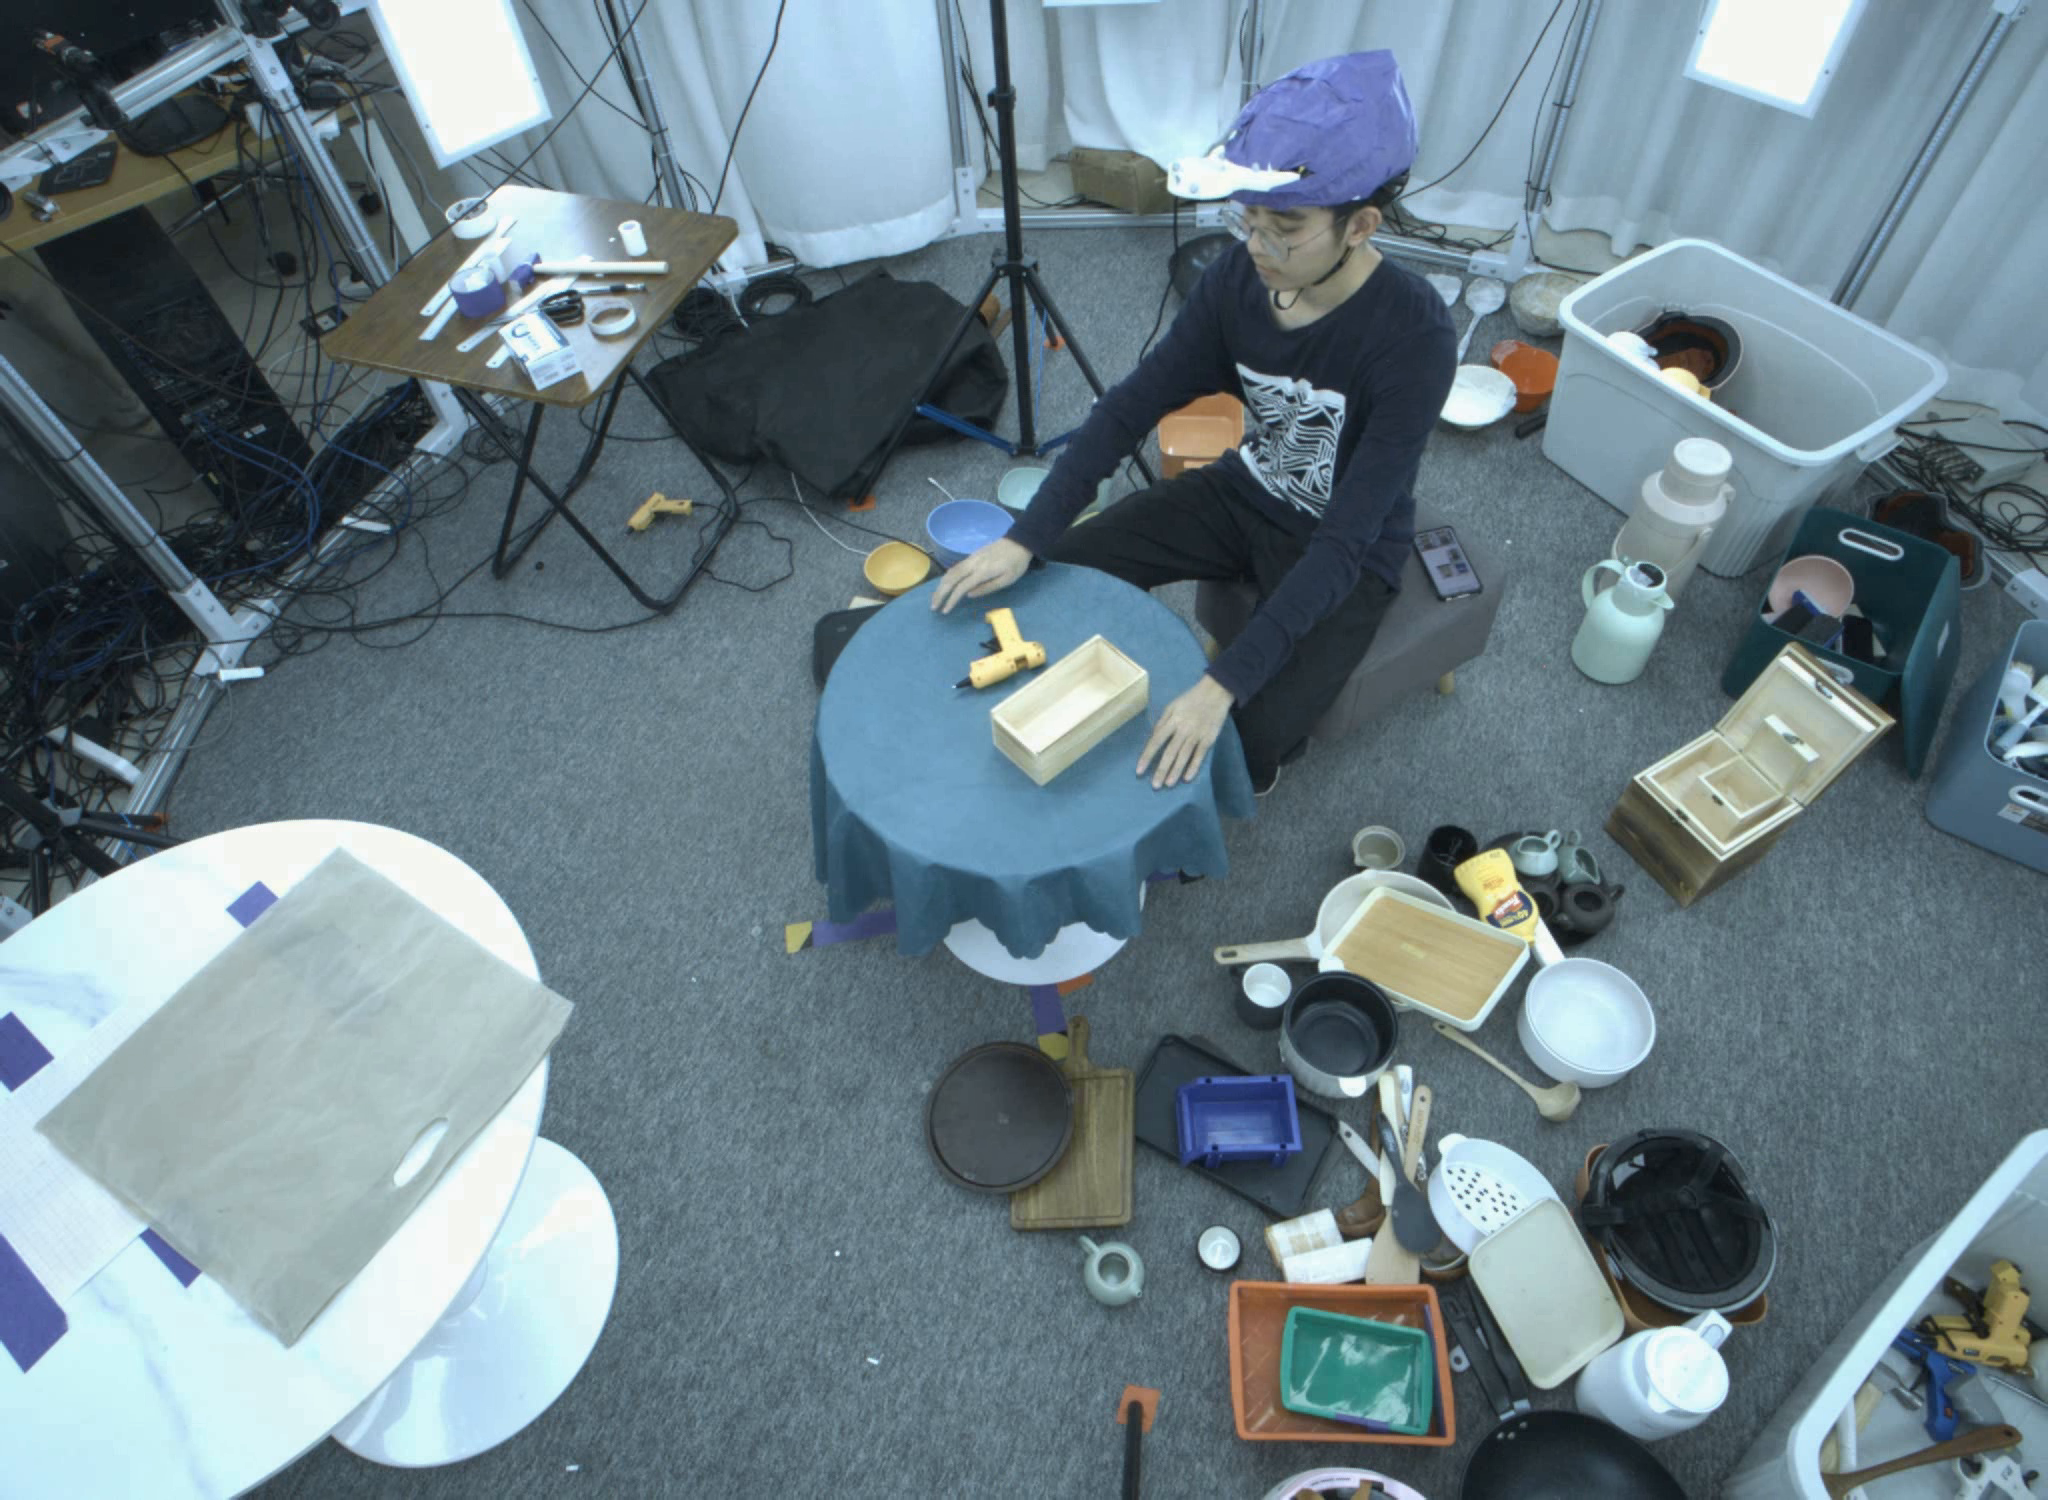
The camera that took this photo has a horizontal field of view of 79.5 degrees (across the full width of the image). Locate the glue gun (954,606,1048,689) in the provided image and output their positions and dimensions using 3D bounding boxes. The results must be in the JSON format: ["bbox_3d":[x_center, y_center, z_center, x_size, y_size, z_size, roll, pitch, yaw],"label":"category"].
[{"bbox_3d":[-0.057,-0.151,1.880,0.152,0.031,0.130,-26,57,-16],"label":"glue gun"}]

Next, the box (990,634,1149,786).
[{"bbox_3d":[0.068,-0.059,1.776,0.213,0.081,0.105,-36,60,-21],"label":"box"}]
